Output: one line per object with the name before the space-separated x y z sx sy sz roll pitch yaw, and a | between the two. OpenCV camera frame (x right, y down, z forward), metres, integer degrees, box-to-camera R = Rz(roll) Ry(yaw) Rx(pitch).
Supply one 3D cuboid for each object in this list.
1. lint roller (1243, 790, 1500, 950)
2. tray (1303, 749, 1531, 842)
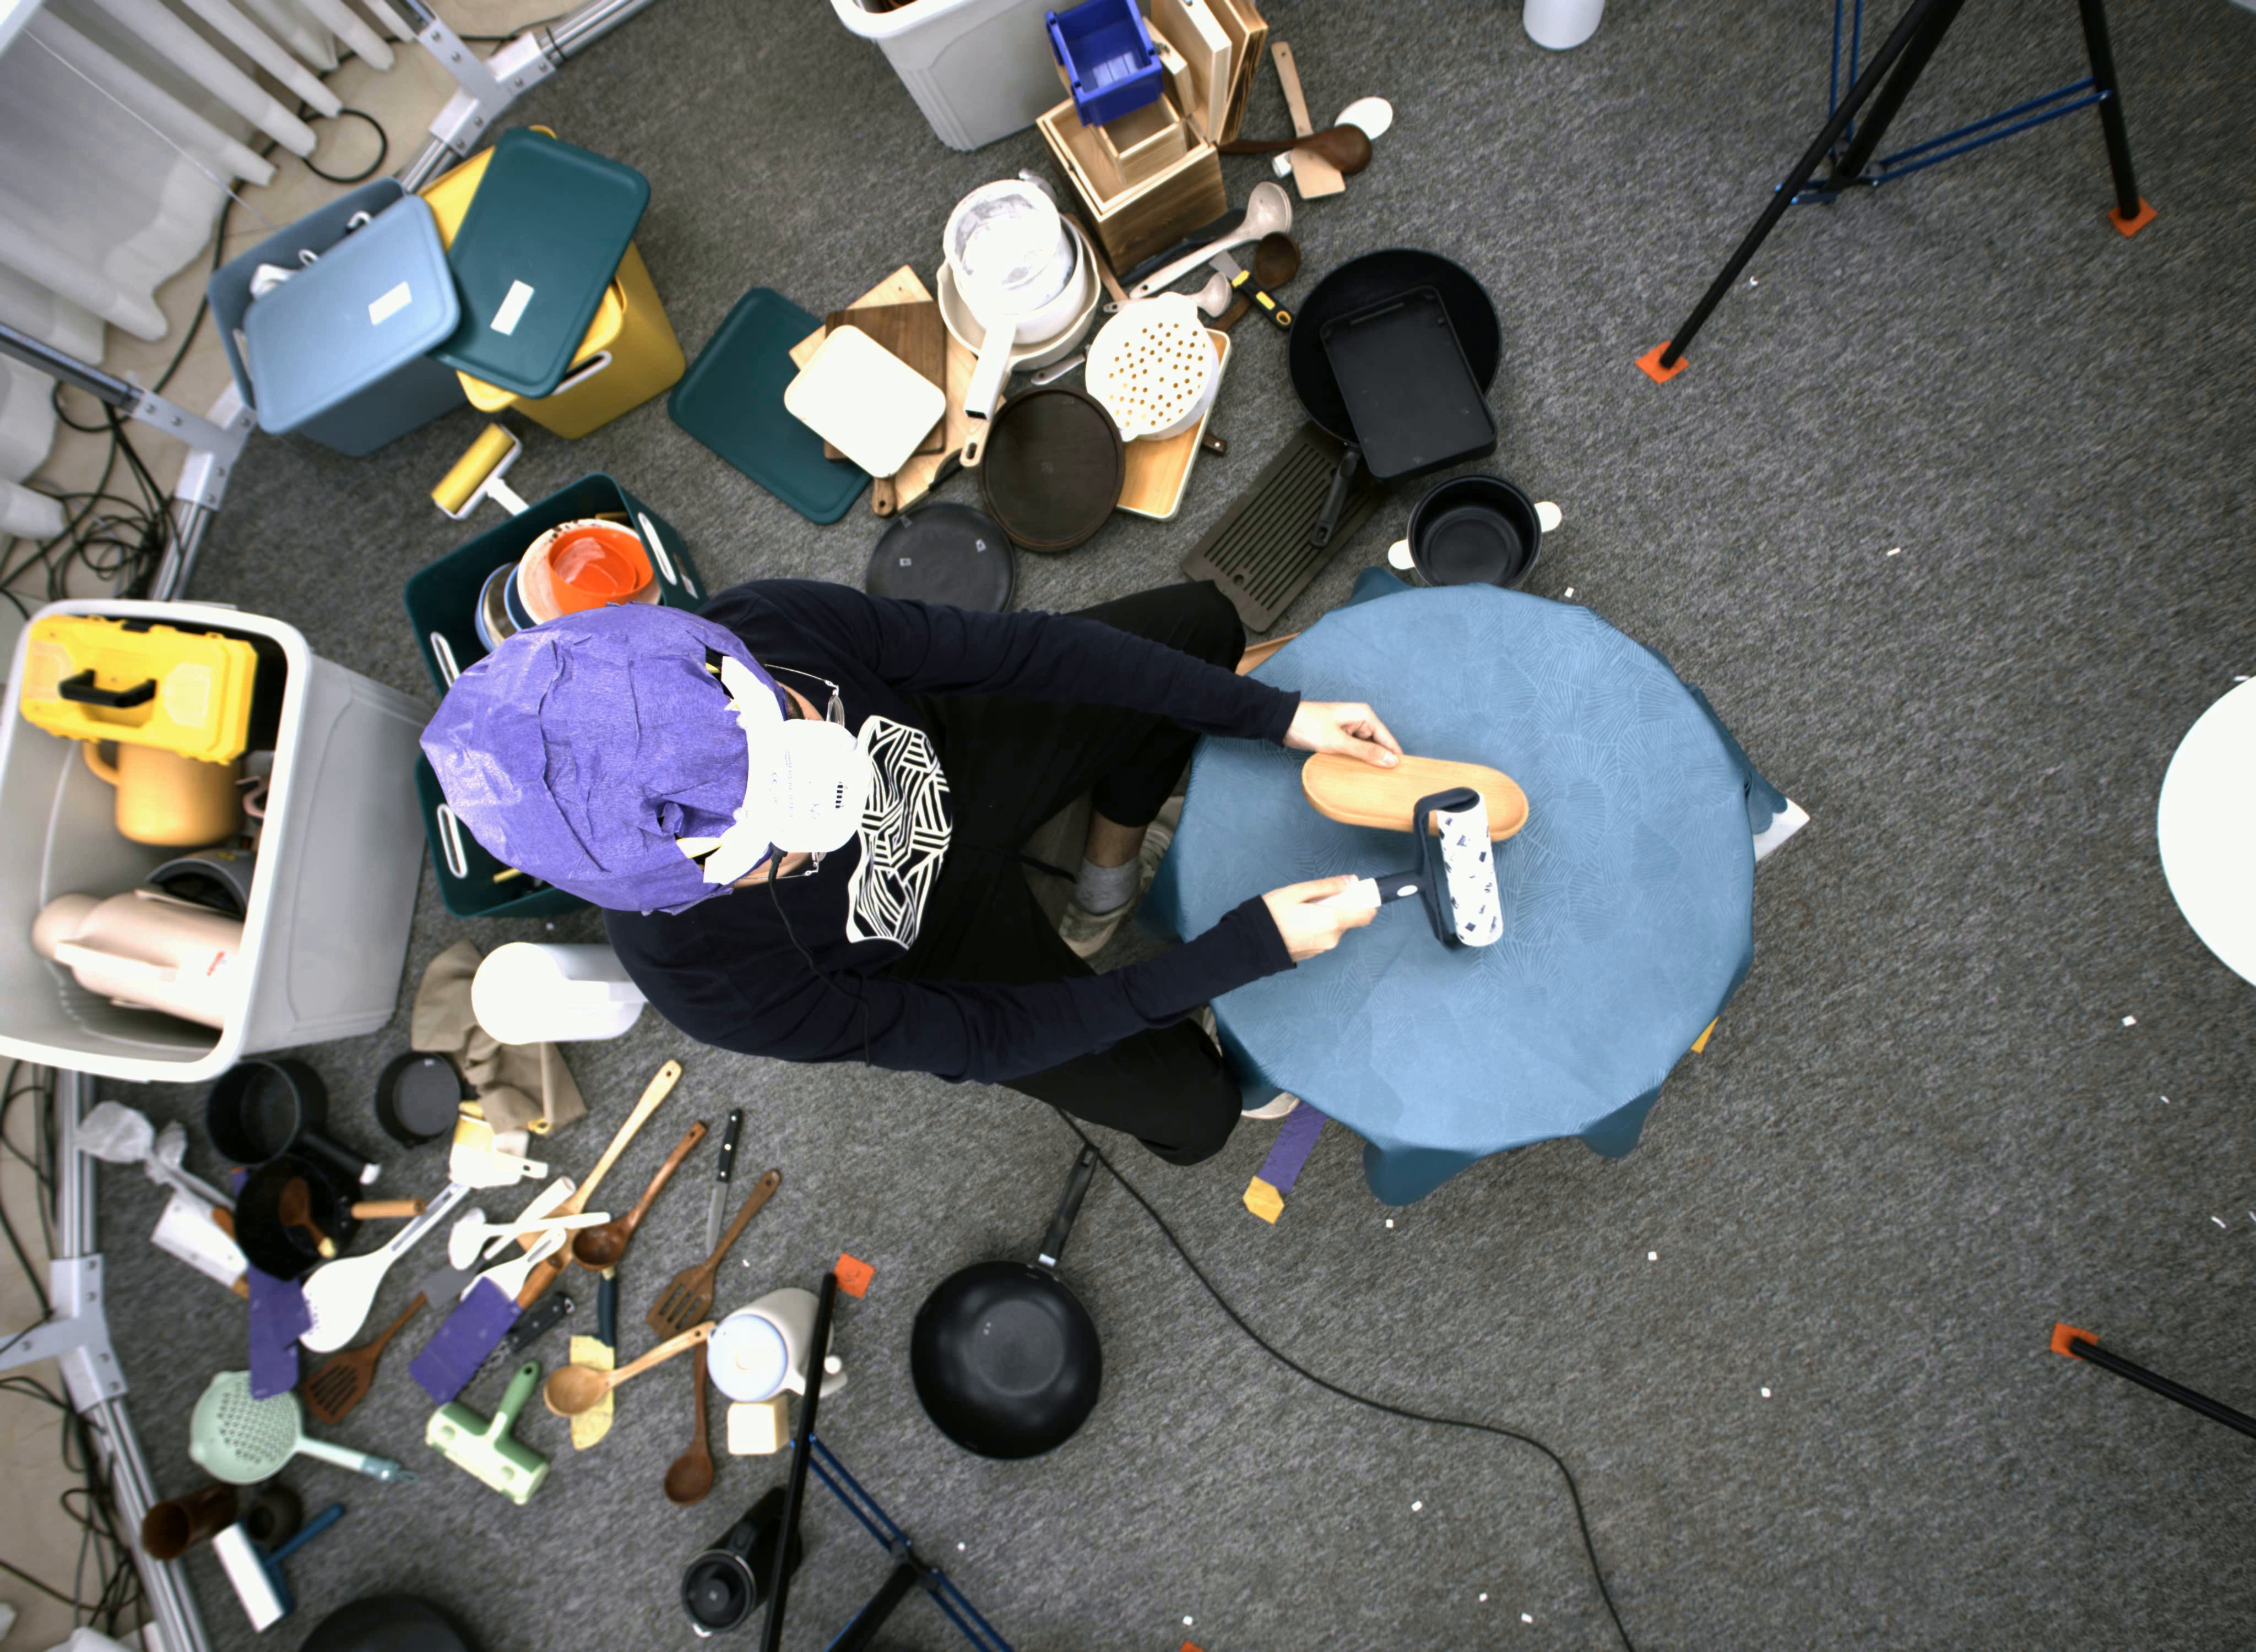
lint roller | 0.236 0.068 1.354 0.248 0.049 0.180 -15 124 7
tray | 0.290 -0.032 1.387 0.231 0.021 0.099 8 48 -1
